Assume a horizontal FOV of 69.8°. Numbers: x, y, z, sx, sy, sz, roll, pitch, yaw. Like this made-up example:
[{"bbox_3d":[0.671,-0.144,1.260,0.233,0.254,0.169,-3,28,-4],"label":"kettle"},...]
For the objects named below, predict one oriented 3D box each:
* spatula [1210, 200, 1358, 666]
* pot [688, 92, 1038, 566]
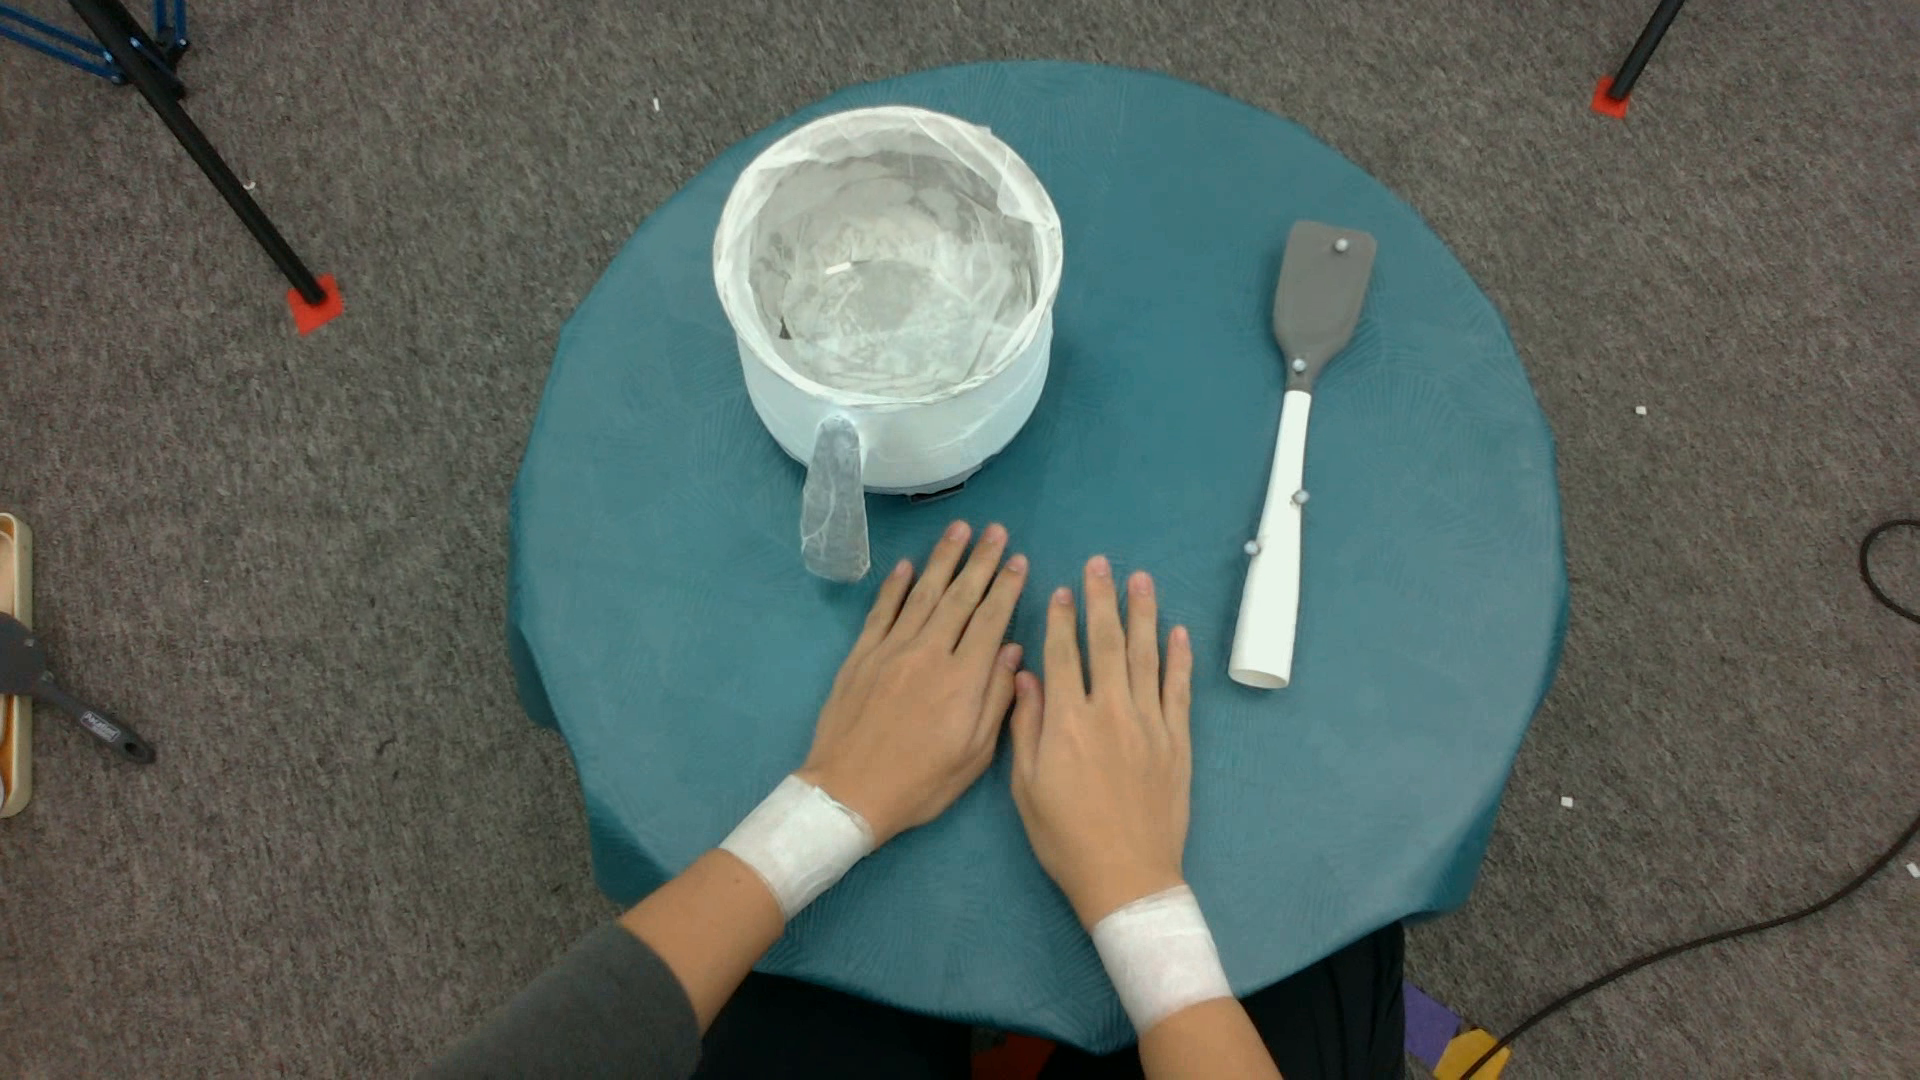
[{"bbox_3d":[0.182,-0.068,0.792,0.058,0.032,0.288,11,70,6],"label":"spatula"},{"bbox_3d":[-0.055,-0.107,0.745,0.178,0.136,0.234,11,69,3],"label":"pot"}]
